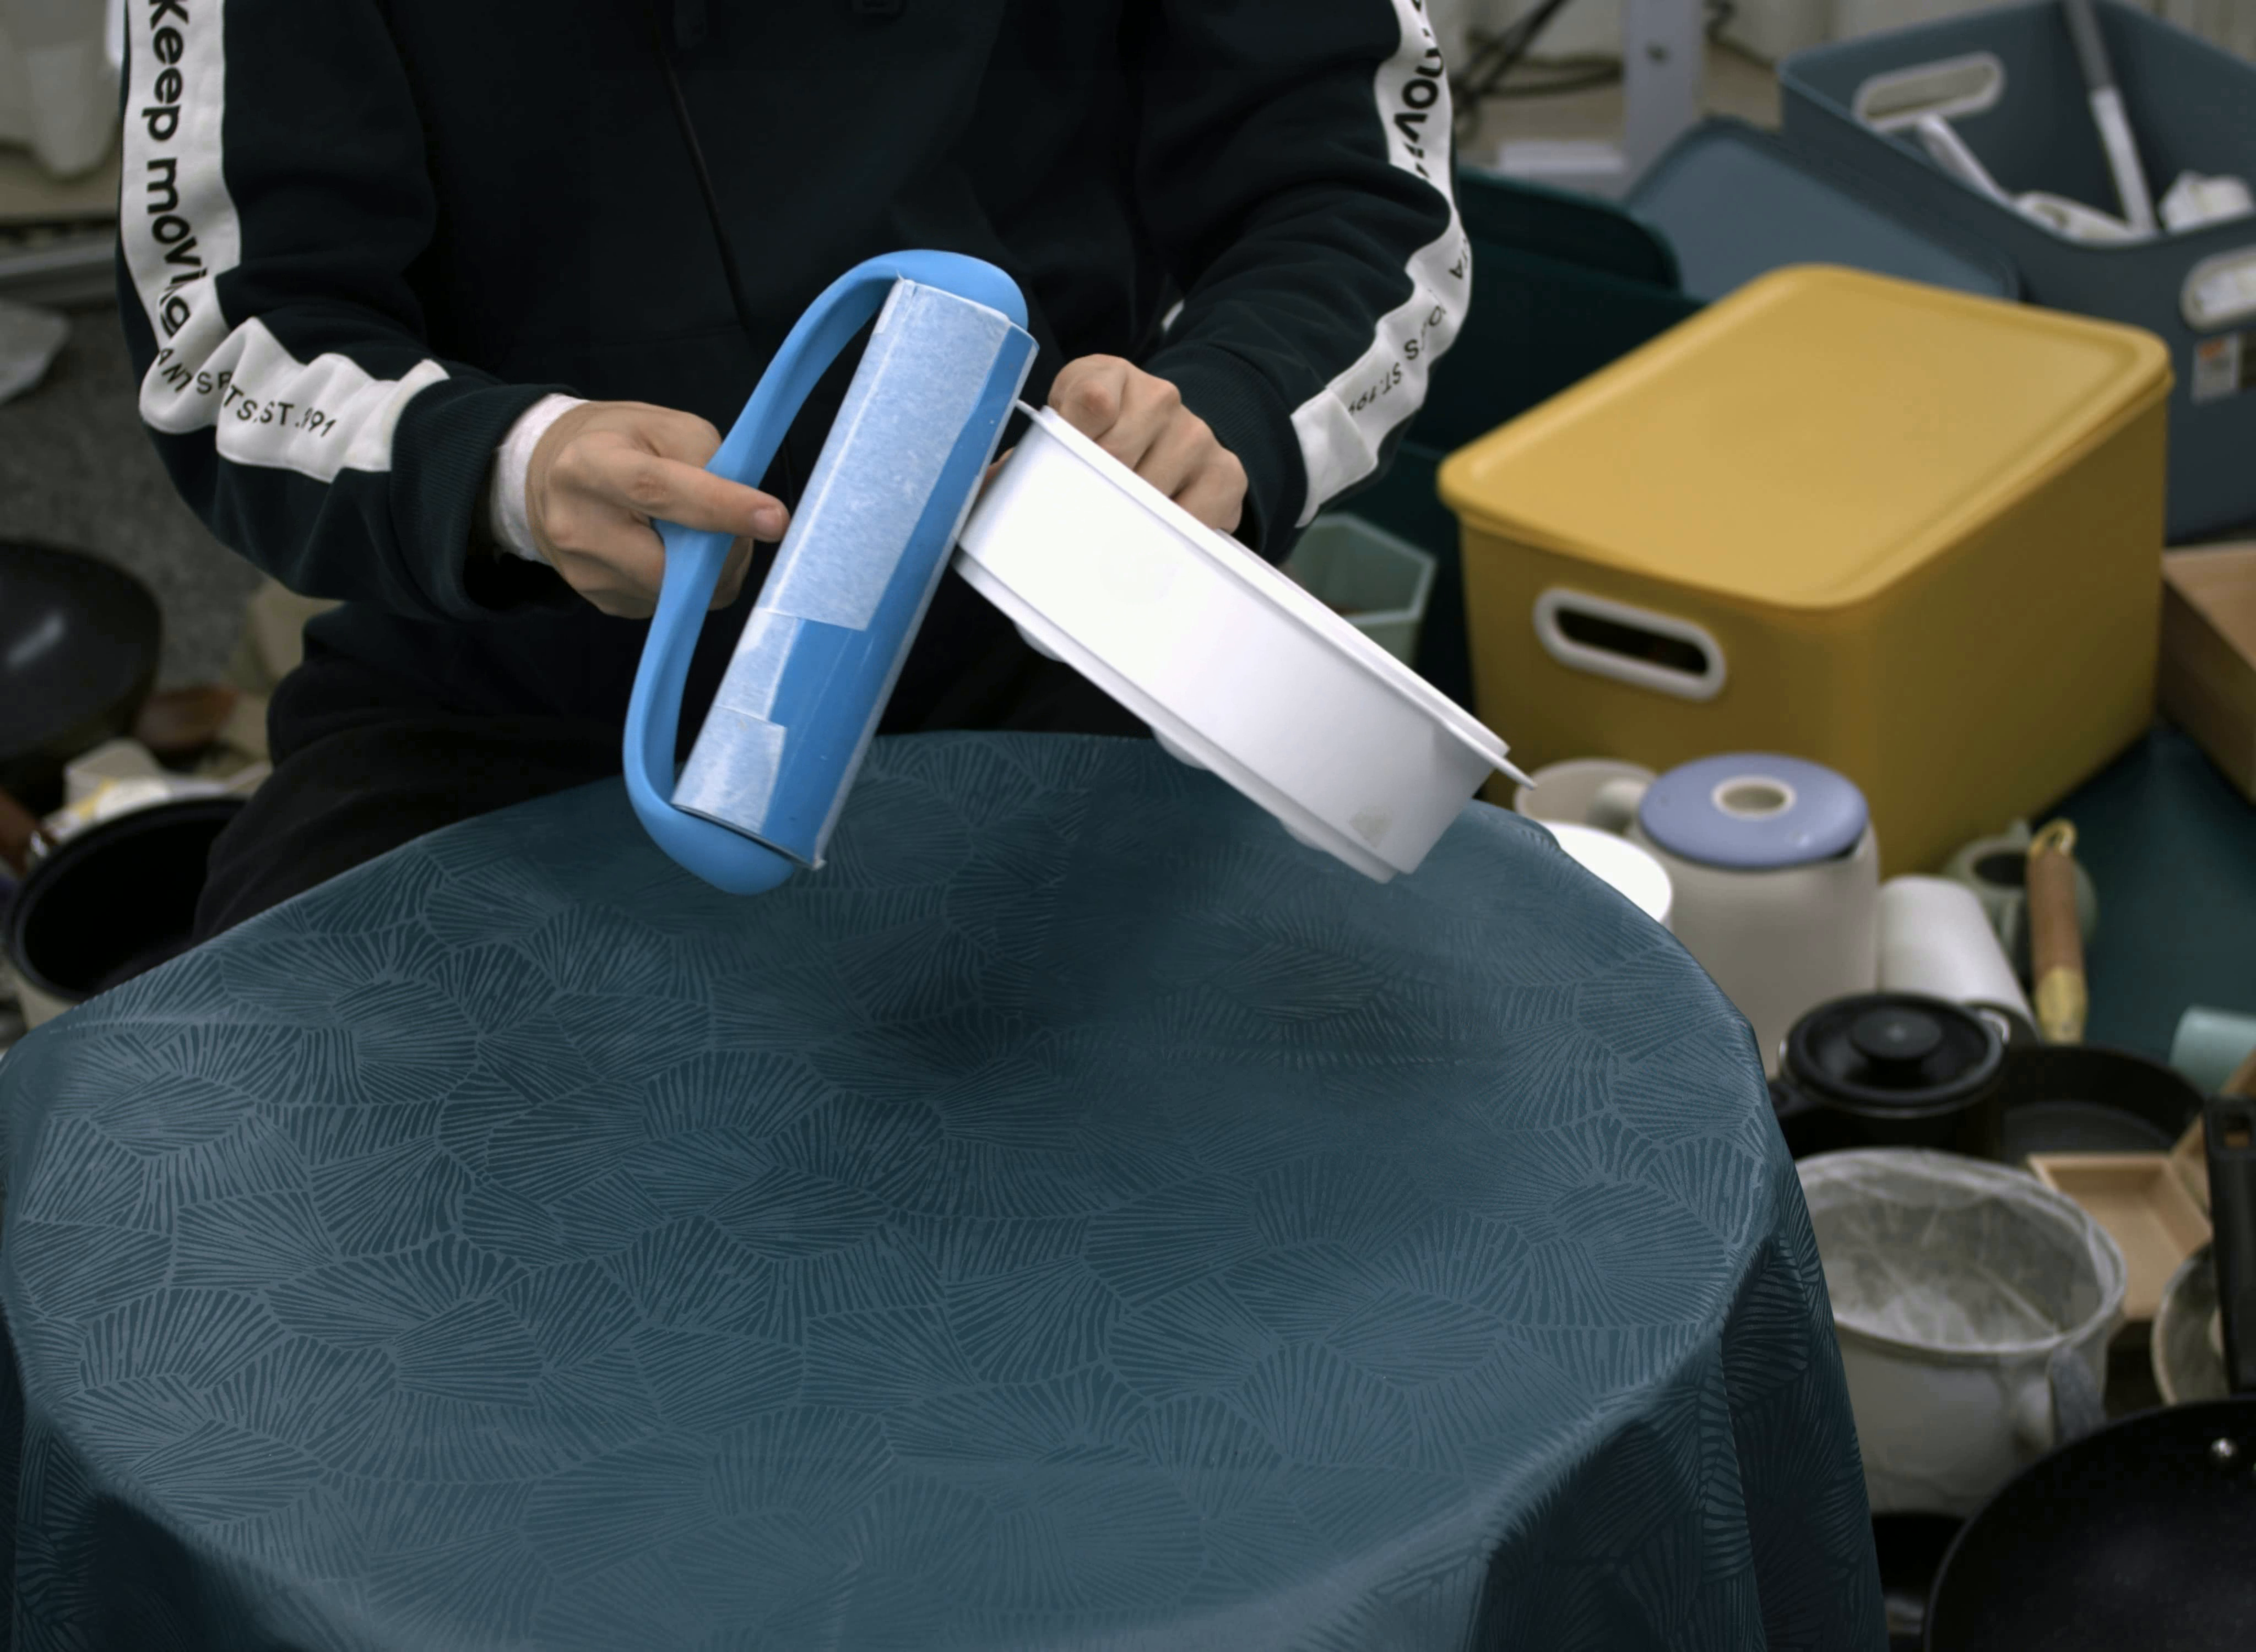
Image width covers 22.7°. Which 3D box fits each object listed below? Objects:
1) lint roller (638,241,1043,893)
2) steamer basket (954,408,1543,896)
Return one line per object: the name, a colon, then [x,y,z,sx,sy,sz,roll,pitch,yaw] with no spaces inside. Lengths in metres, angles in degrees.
lint roller: [-0.124,-0.091,1.914,0.067,0.231,0.179,27,-13,-36]
steamer basket: [0.032,-0.055,1.902,0.231,0.069,0.201,37,2,24]
